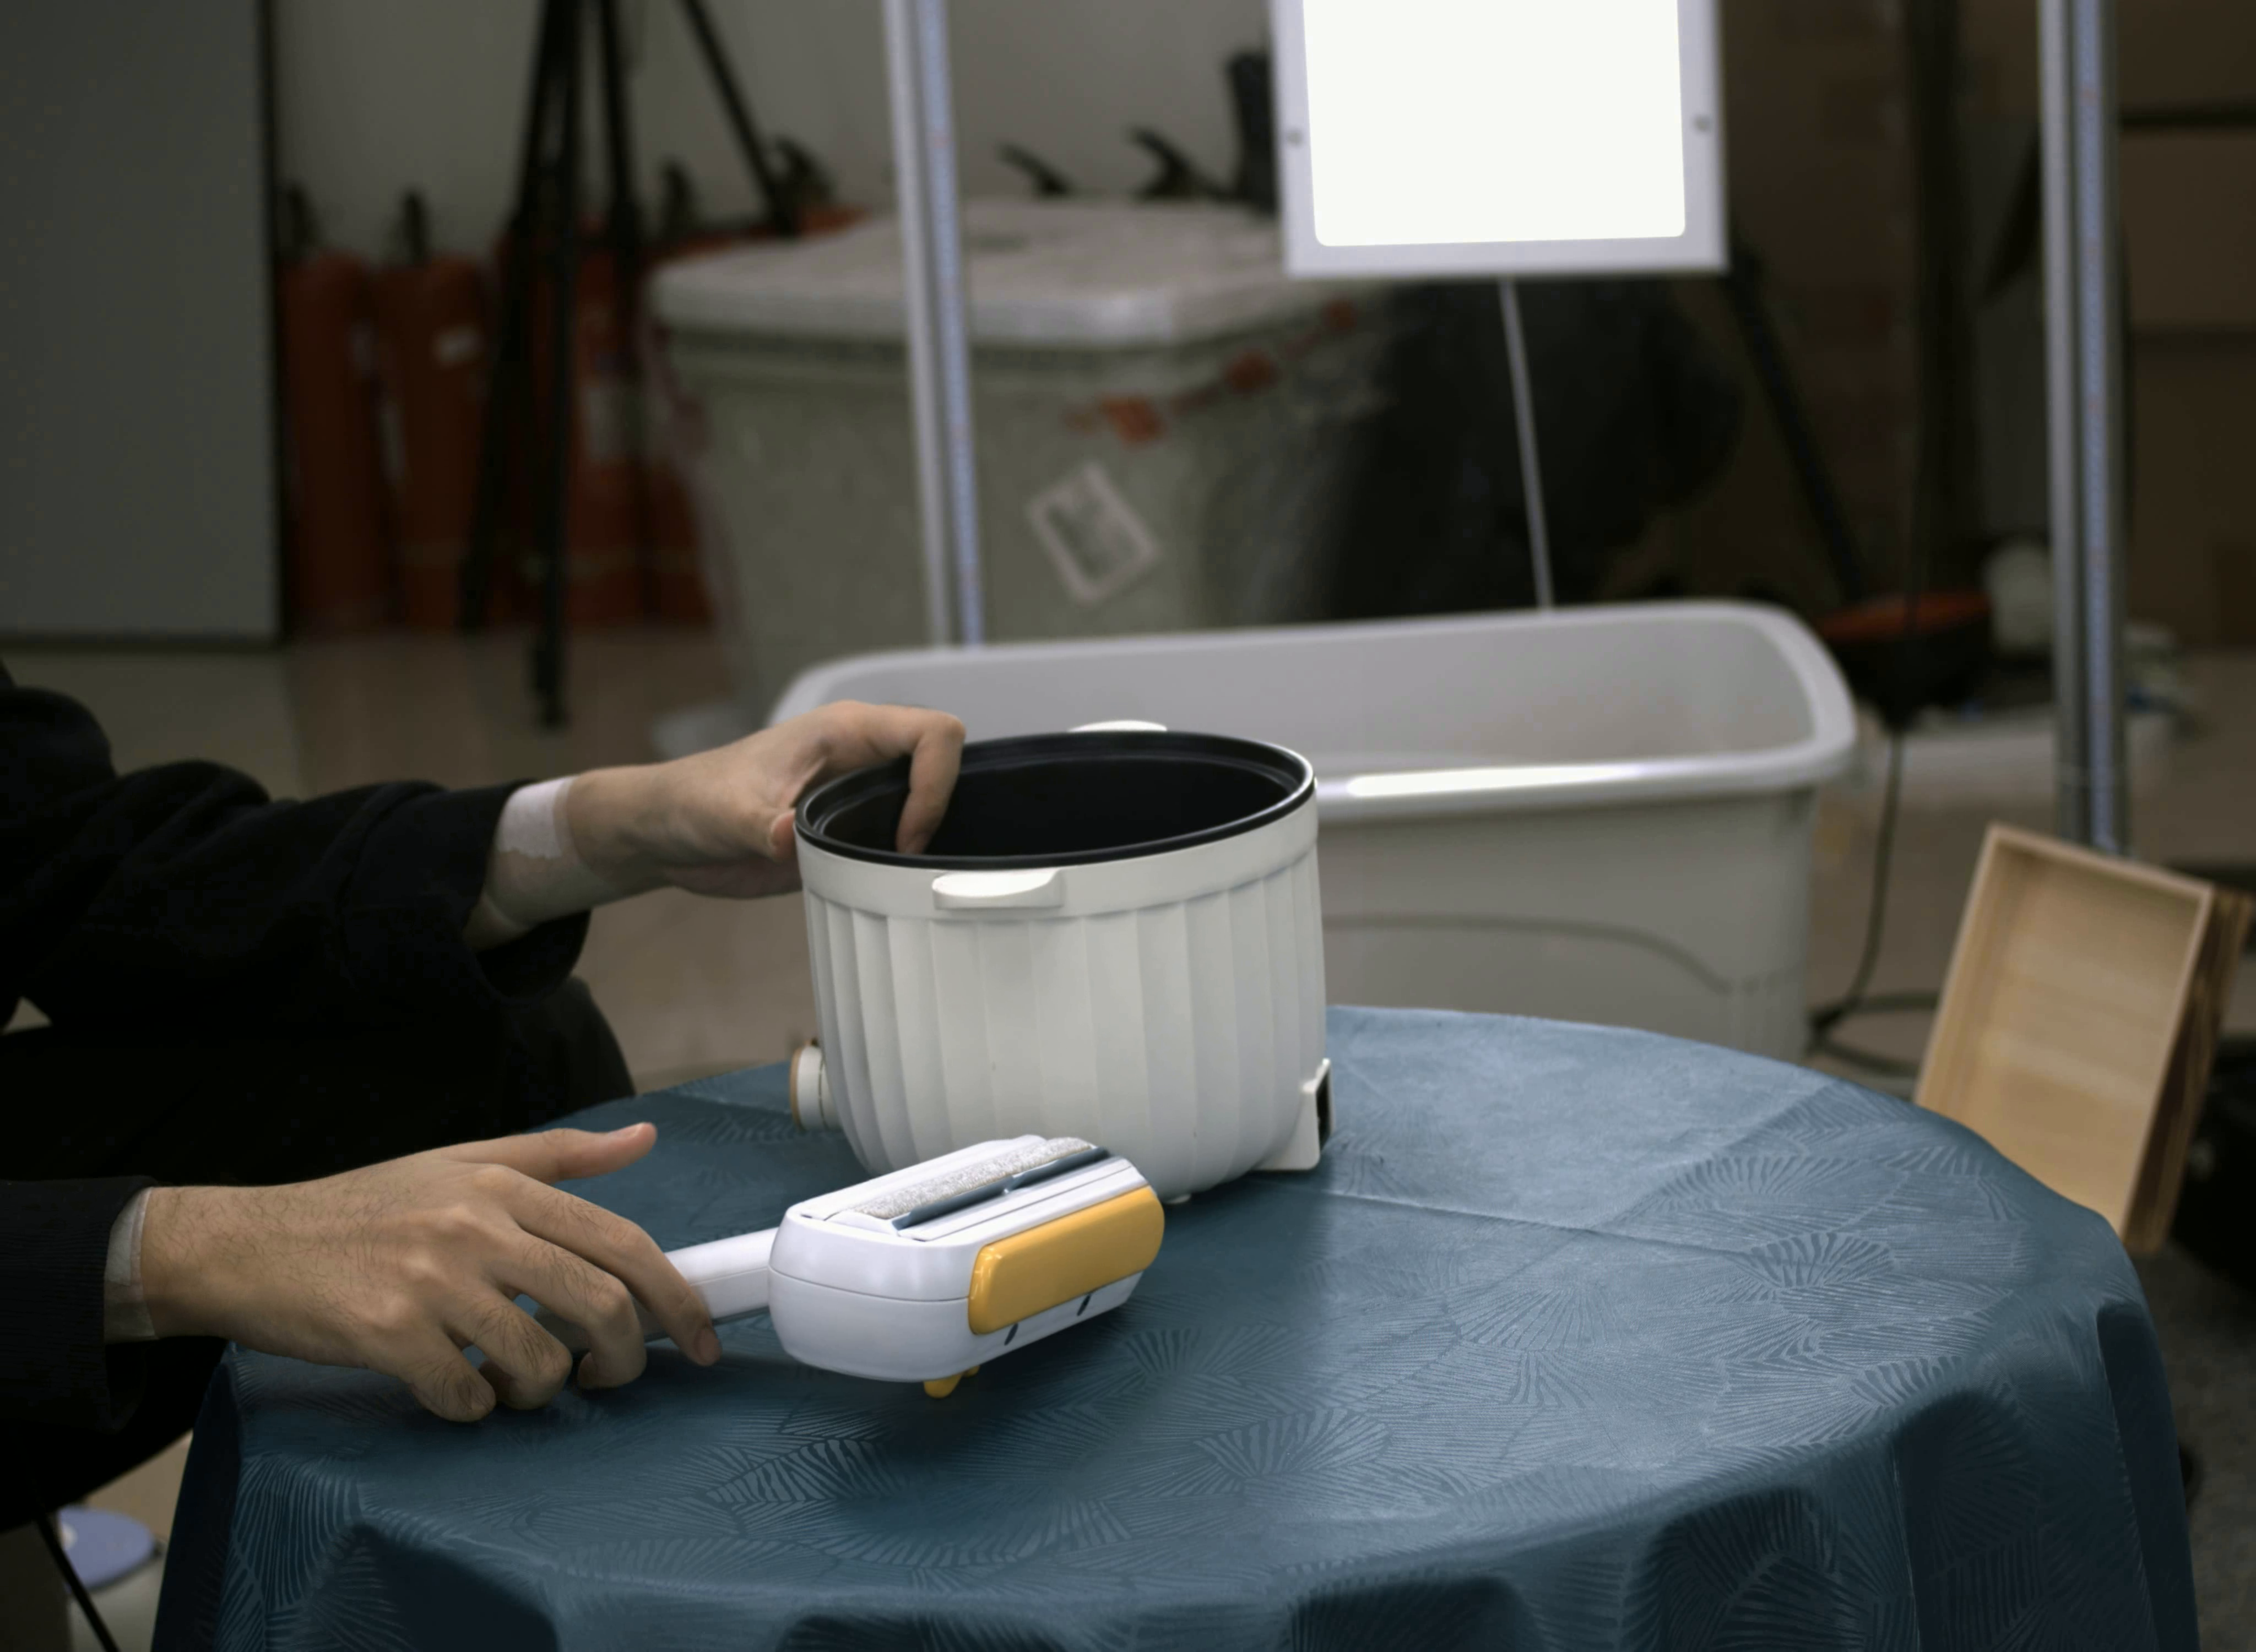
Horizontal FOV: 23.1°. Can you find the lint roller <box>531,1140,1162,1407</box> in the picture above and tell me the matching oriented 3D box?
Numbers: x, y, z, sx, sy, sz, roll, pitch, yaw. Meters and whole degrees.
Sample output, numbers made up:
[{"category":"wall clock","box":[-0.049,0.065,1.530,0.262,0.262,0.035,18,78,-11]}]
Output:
[{"category":"lint roller","box":[-0.104,0.140,1.735,0.196,0.074,0.189,1,10,28]}]

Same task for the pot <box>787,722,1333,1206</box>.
[{"category":"pot","box":[-0.026,0.053,1.912,0.192,0.143,0.237,1,13,12]}]
